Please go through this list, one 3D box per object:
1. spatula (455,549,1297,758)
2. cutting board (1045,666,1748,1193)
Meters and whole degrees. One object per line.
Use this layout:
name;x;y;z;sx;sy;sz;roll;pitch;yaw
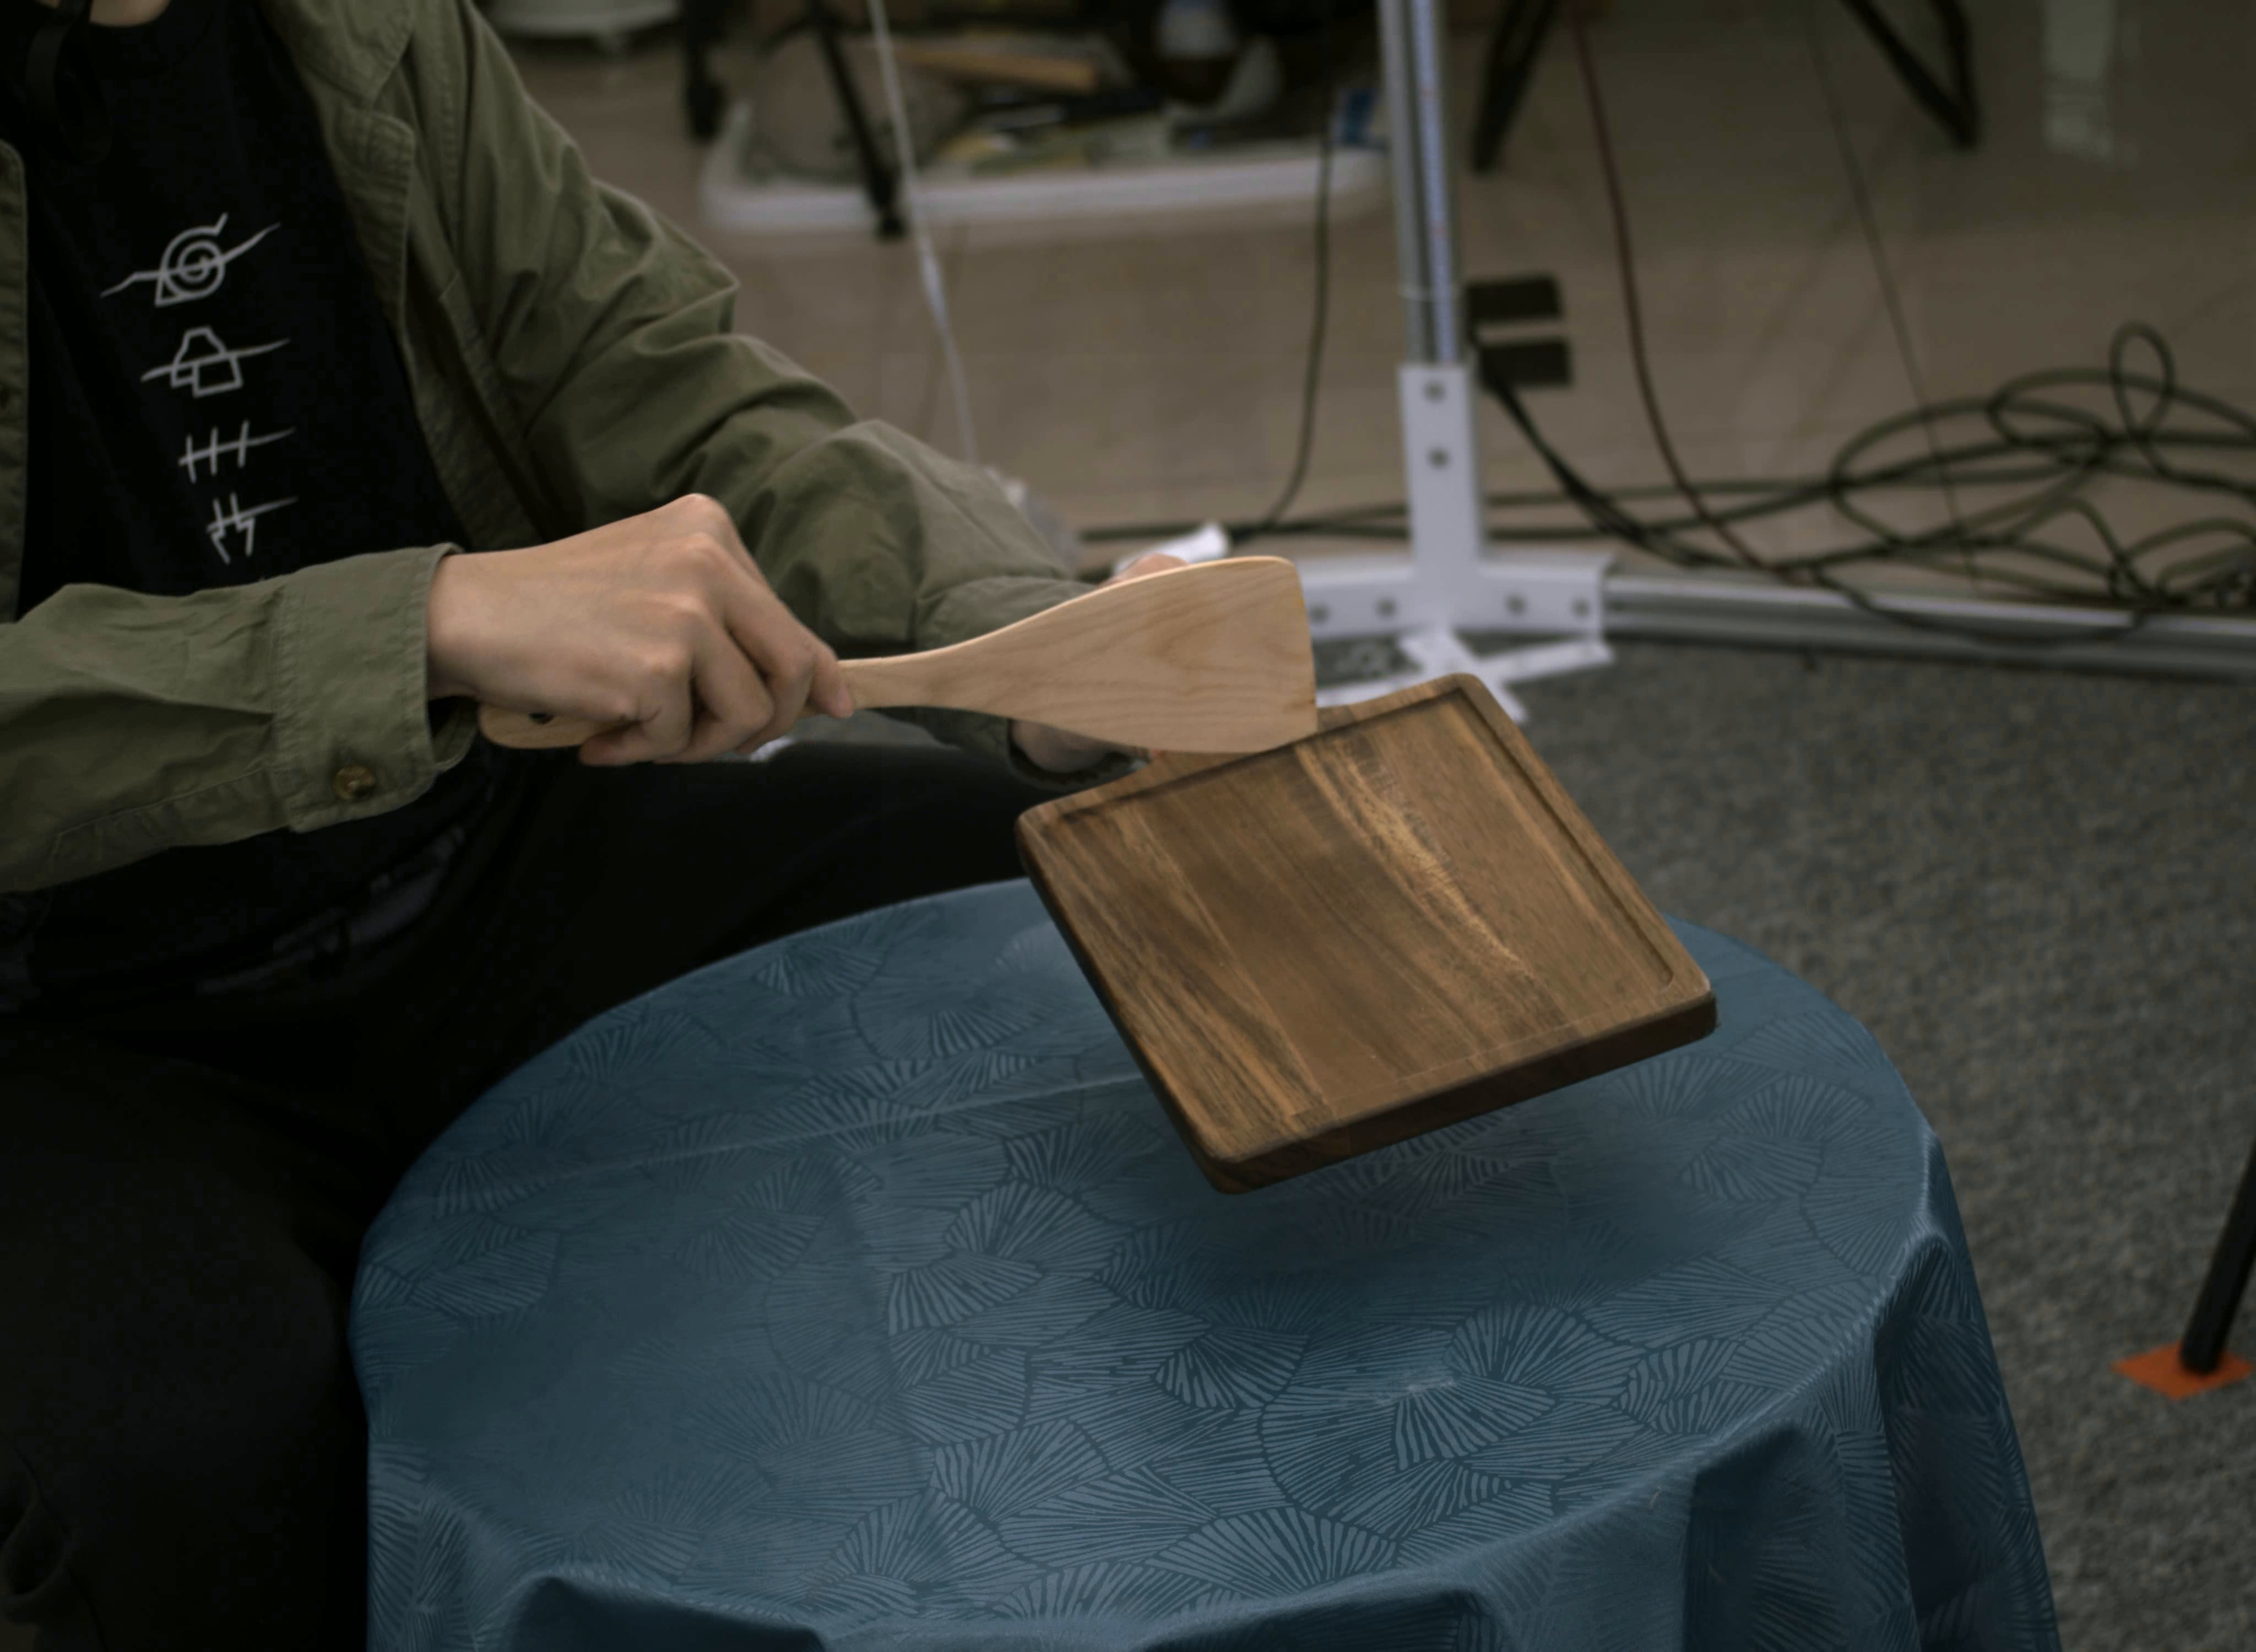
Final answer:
spatula;-0.088;-0.053;2.081;0.327;0.081;0.016;-7;27;-21
cutting board;0.082;0.008;2.165;0.200;0.023;0.346;-18;36;-9
